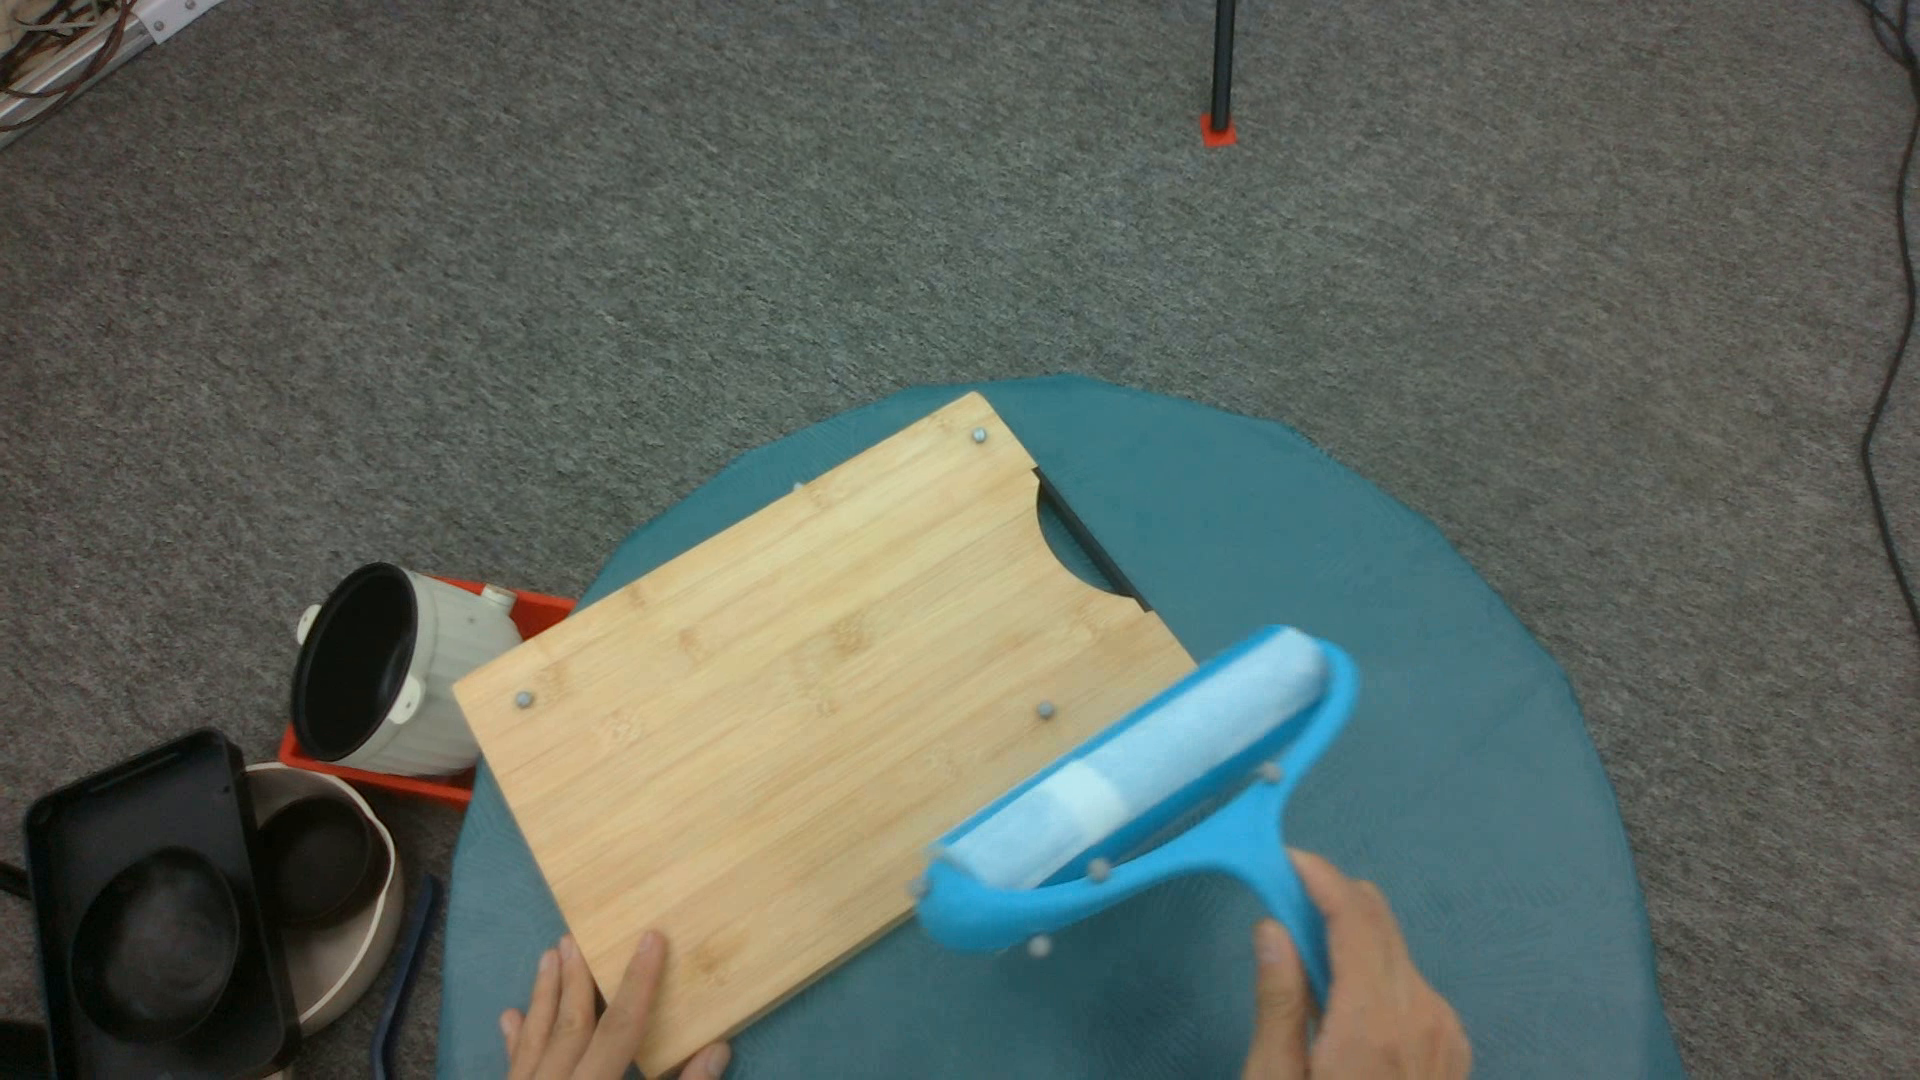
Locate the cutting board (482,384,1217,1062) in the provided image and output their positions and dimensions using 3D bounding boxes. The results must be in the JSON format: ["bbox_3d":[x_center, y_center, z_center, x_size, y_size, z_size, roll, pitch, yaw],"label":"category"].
[{"bbox_3d":[-0.061,0.081,0.755,0.349,0.023,0.251,-31,65,-13],"label":"cutting board"}]

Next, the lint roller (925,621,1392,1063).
[{"bbox_3d":[0.119,0.136,0.589,0.230,0.067,0.180,-29,52,-26],"label":"lint roller"}]
